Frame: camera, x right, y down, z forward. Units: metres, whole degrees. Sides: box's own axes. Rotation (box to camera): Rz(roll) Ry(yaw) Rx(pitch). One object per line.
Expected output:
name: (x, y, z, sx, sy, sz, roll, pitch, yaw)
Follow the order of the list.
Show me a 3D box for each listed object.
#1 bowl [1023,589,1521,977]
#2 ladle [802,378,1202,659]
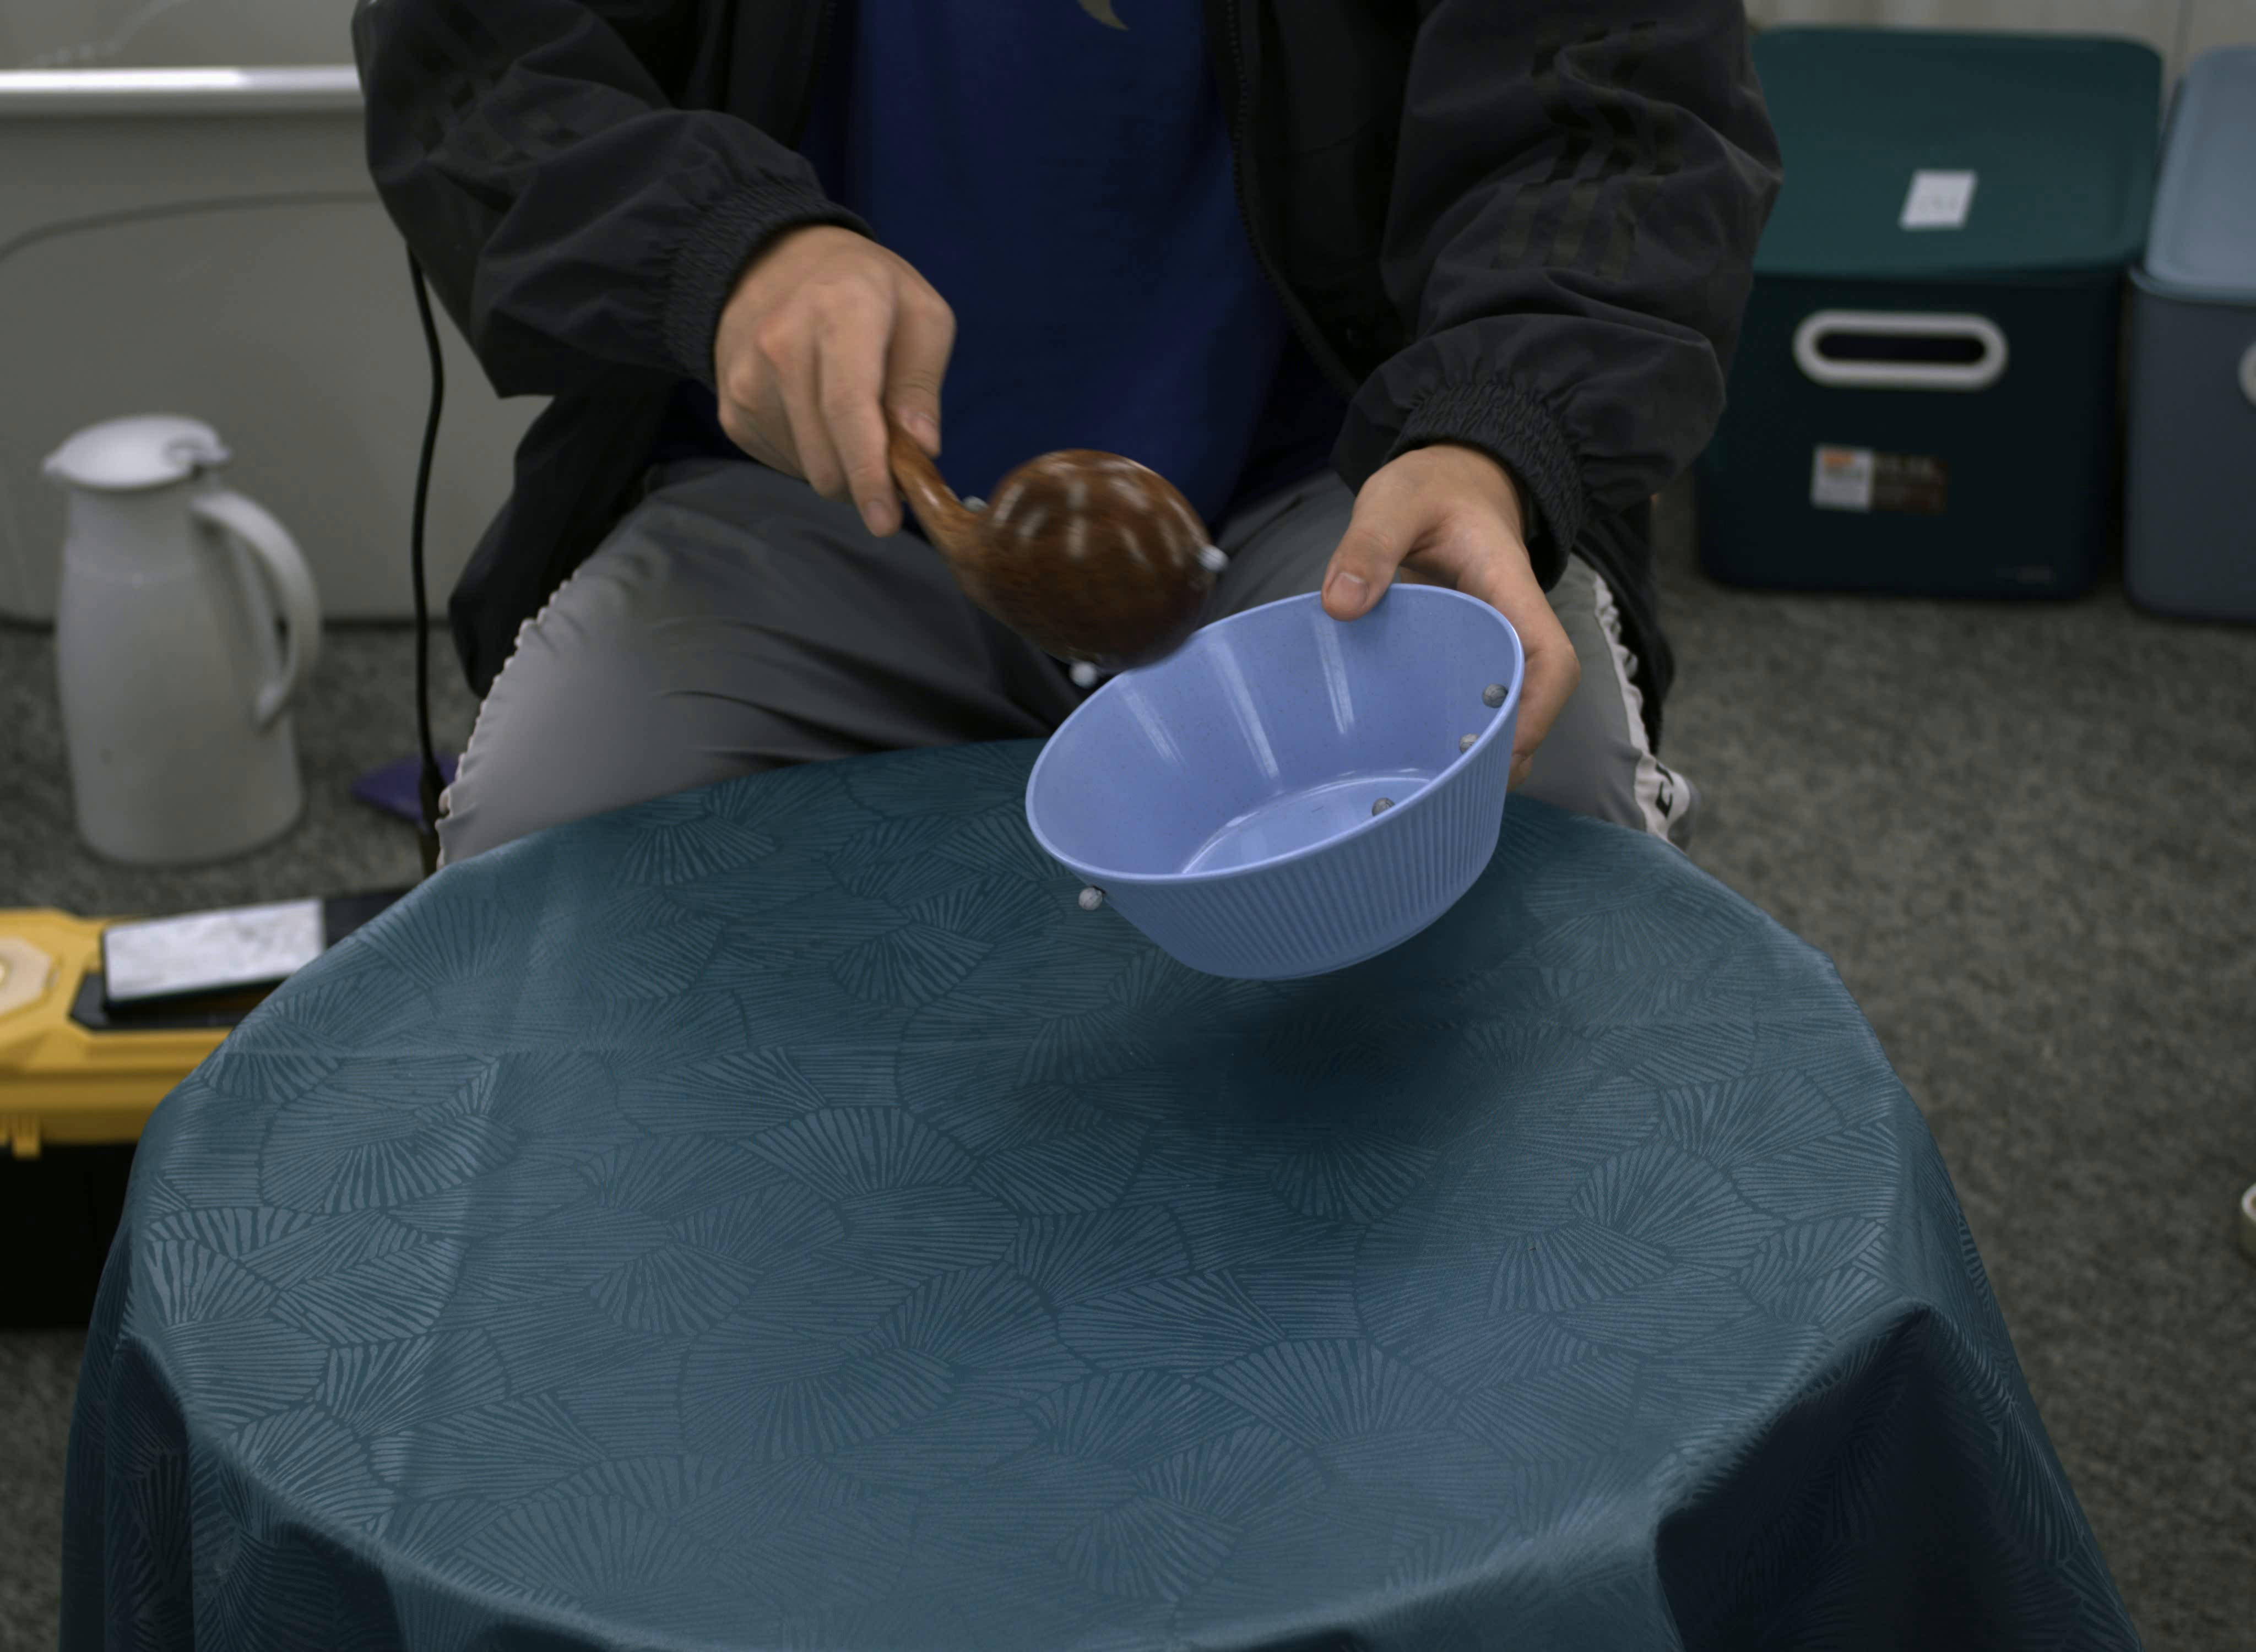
bowl: (0.057, -0.008, 1.898, 0.175, 0.069, 0.179, -16, 27, 9)
ladle: (-0.046, -0.125, 1.946, 0.077, 0.081, 0.276, -17, 22, -11)
